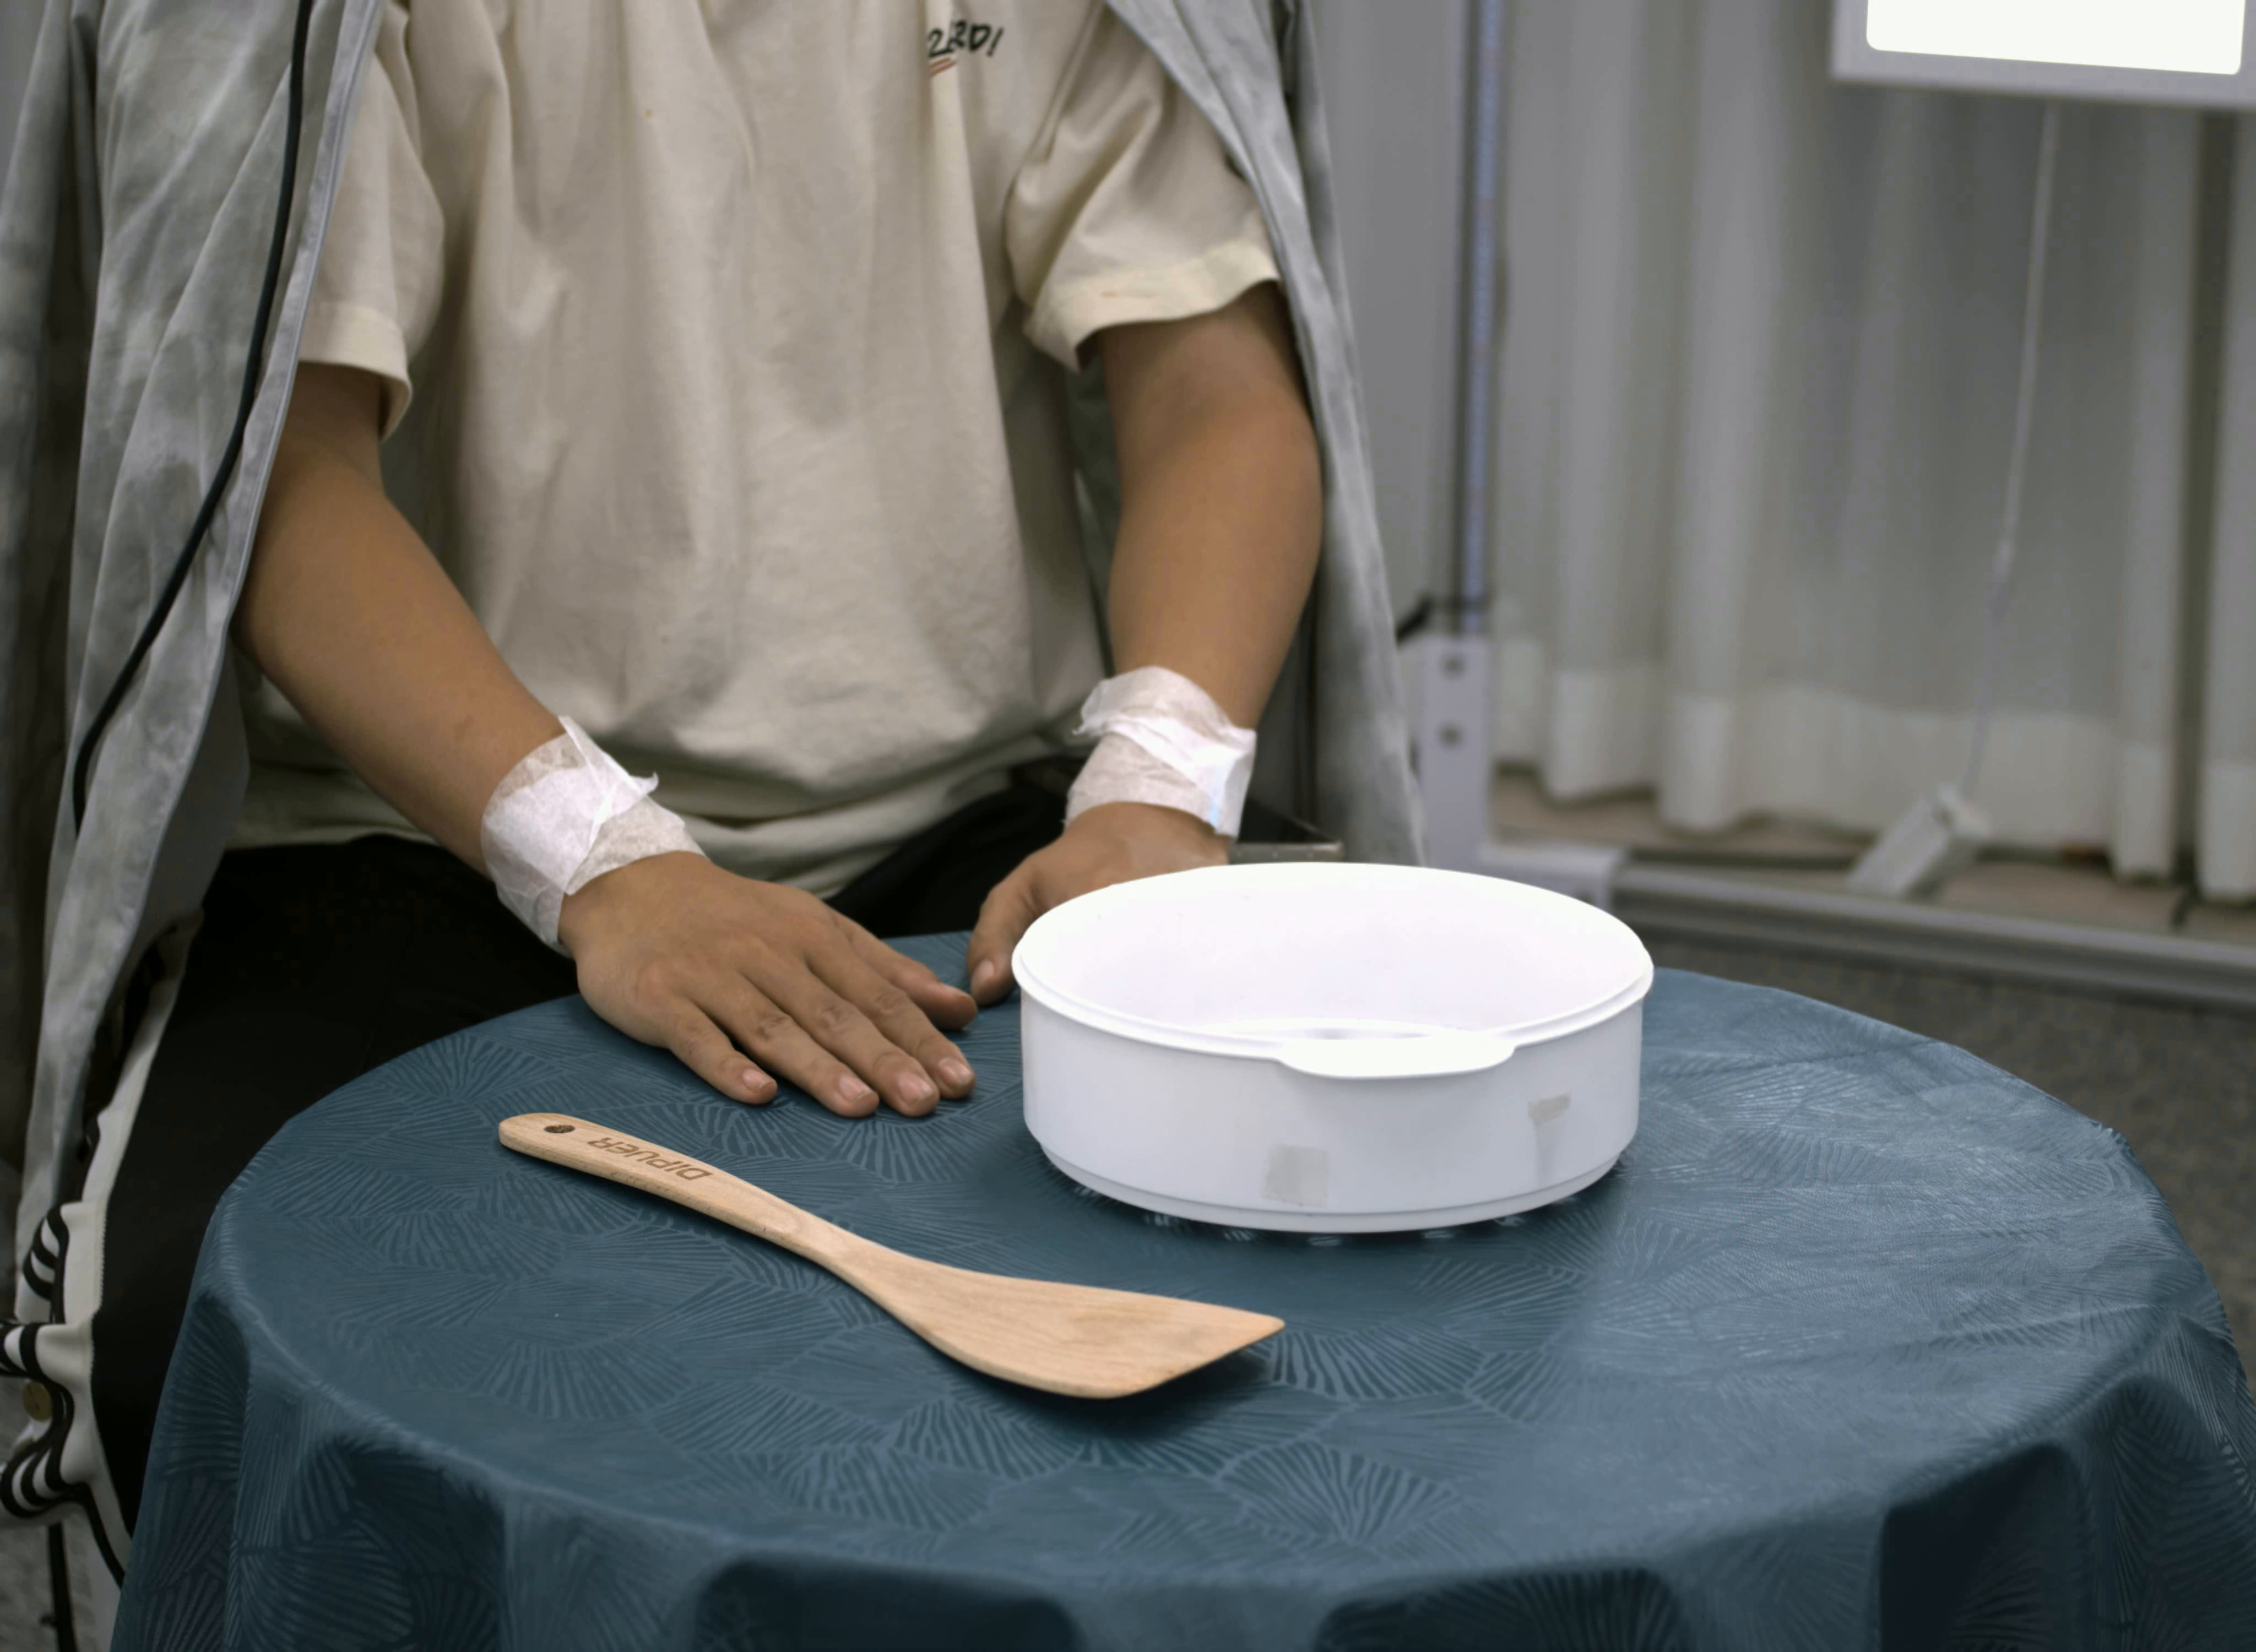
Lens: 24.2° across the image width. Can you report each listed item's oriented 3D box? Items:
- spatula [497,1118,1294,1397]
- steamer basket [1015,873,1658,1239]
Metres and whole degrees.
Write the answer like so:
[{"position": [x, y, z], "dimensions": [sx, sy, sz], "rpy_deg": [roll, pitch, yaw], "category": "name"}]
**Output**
[{"position": [-0.082, 0.122, 1.555], "dimensions": [0.080, 0.016, 0.323], "rpy_deg": [-13, 20, -42], "category": "spatula"}, {"position": [0.064, 0.072, 1.652], "dimensions": [0.202, 0.070, 0.228], "rpy_deg": [-1, 15, -10], "category": "steamer basket"}]
